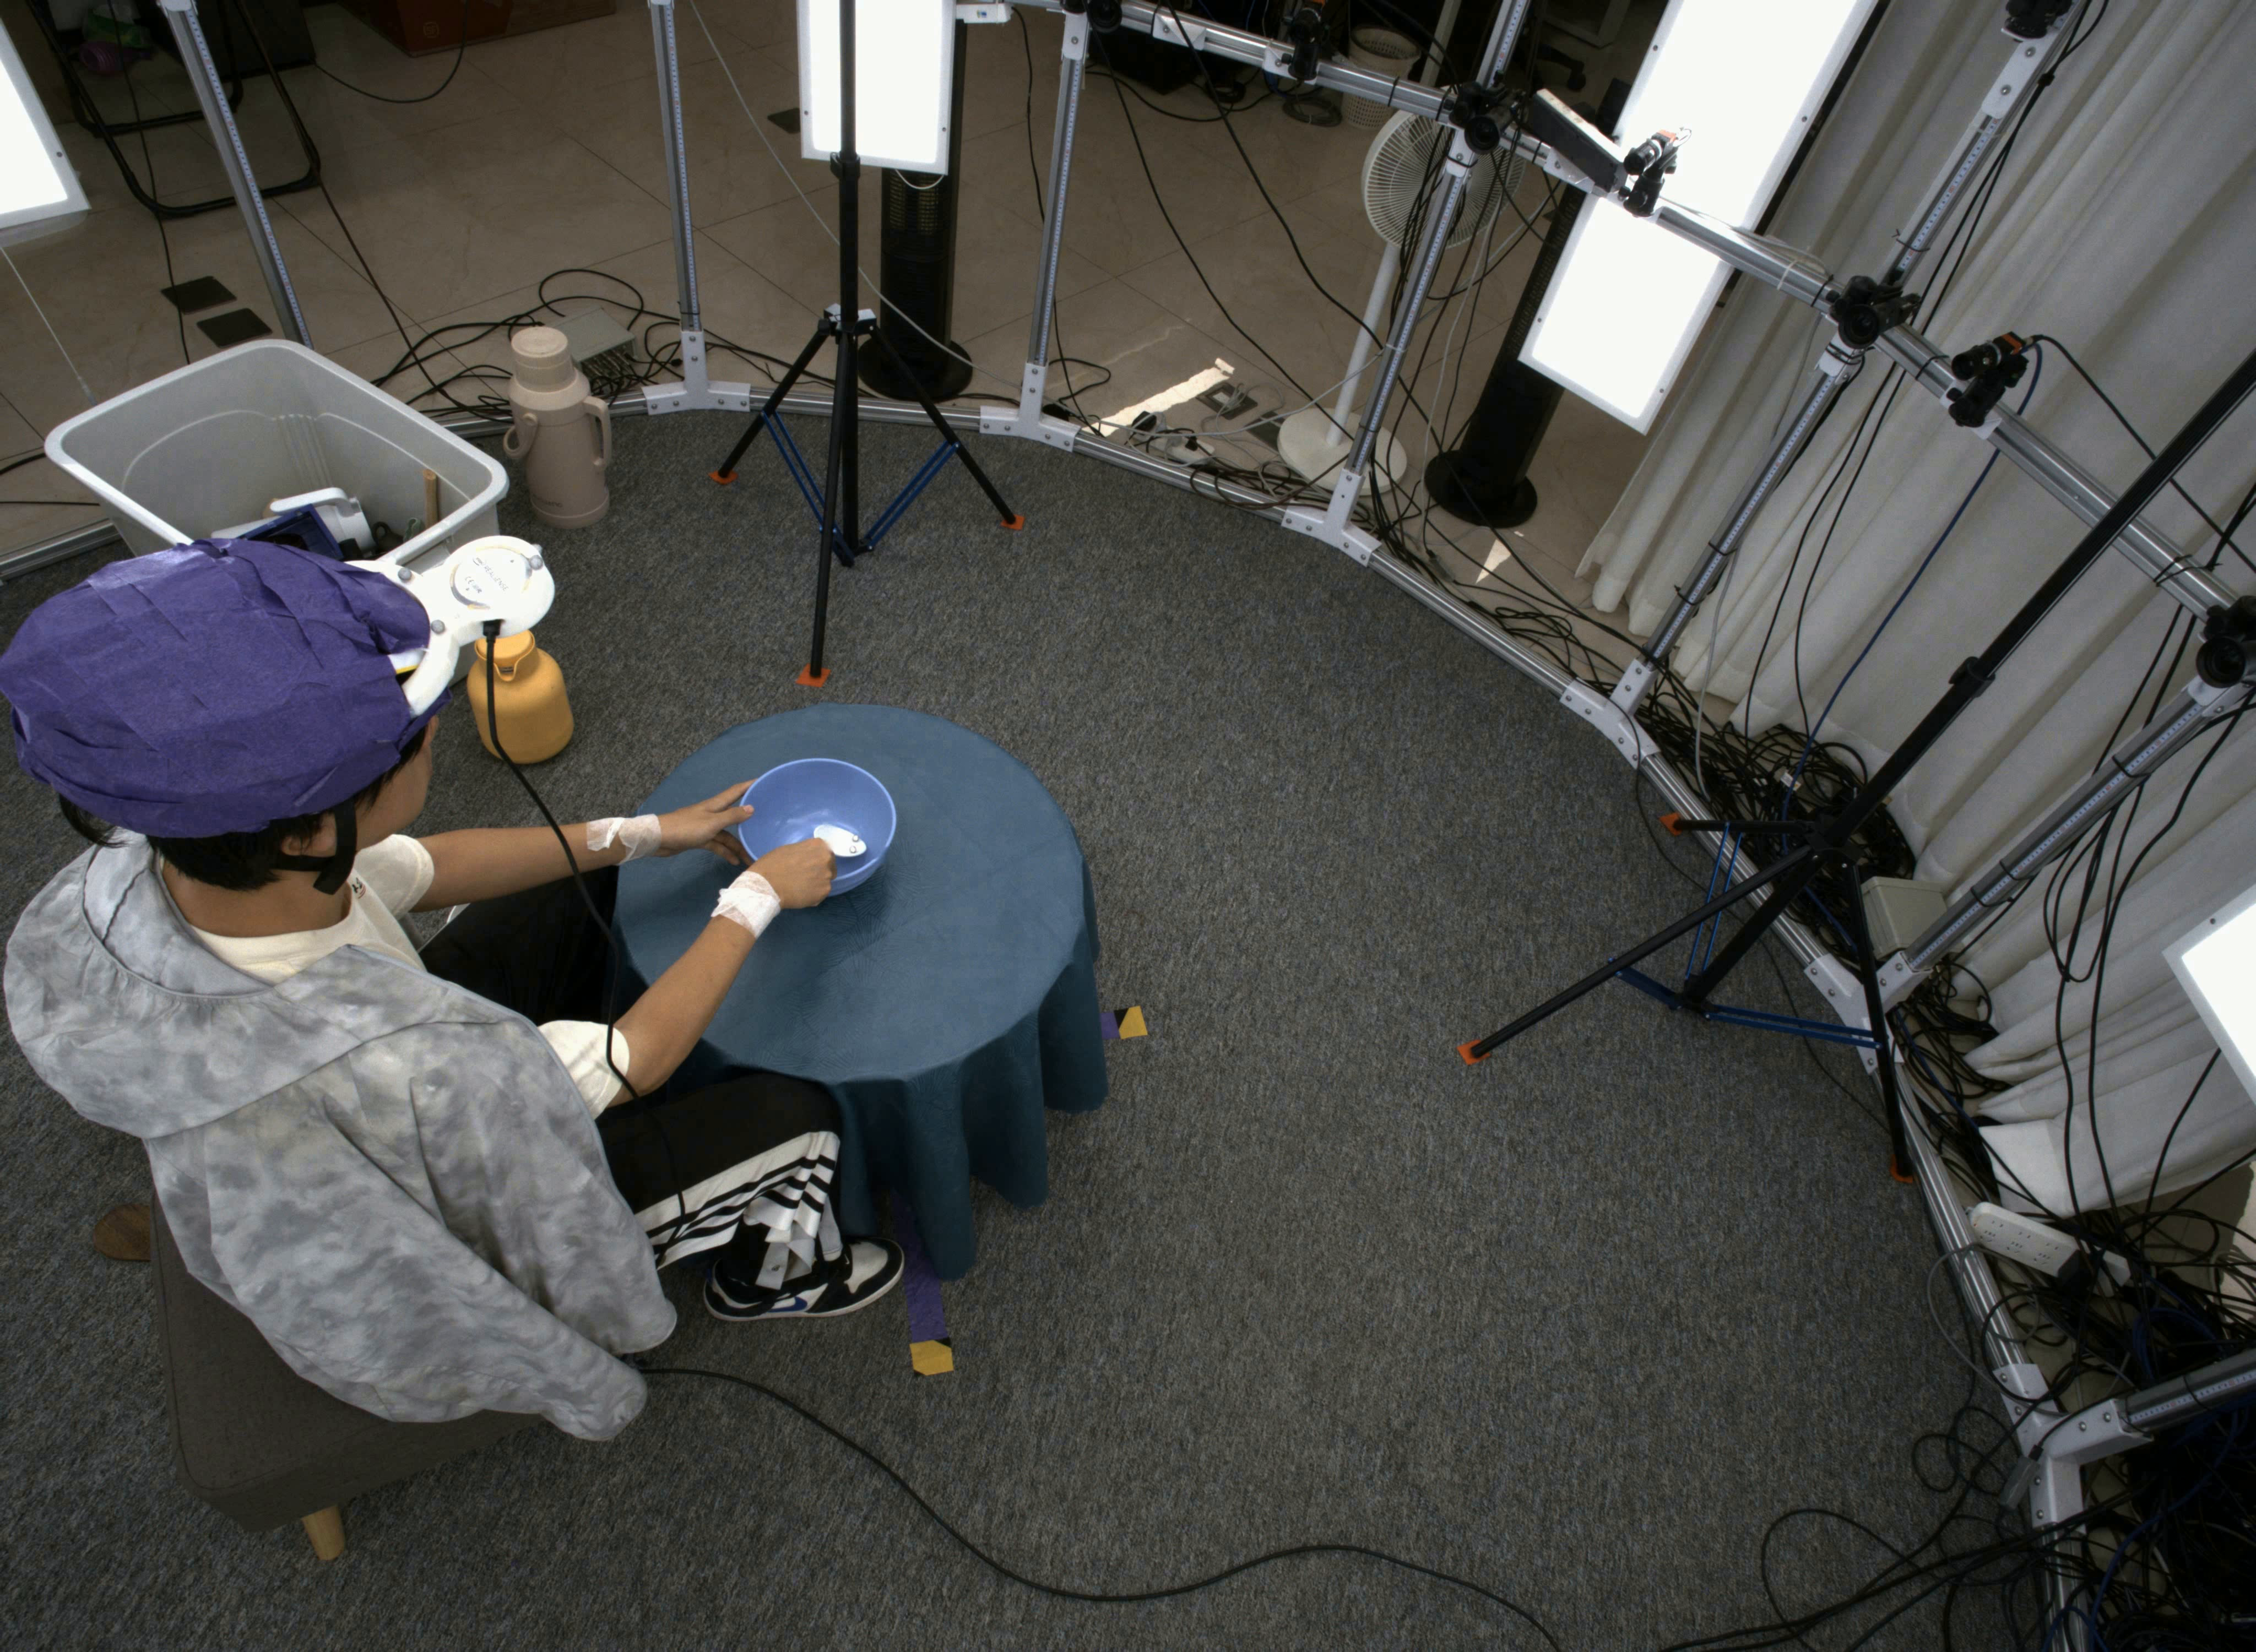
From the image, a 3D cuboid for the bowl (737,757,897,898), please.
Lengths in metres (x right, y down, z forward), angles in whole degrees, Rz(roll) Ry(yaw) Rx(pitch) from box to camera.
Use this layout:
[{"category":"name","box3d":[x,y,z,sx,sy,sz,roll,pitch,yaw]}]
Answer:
[{"category":"bowl","box3d":[-0.396,0.016,1.658,0.196,0.097,0.193,9,51,-9]}]

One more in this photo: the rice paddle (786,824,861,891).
[{"category":"rice paddle","box3d":[-0.382,0.030,1.616,0.068,0.030,0.202,20,17,-4]}]
